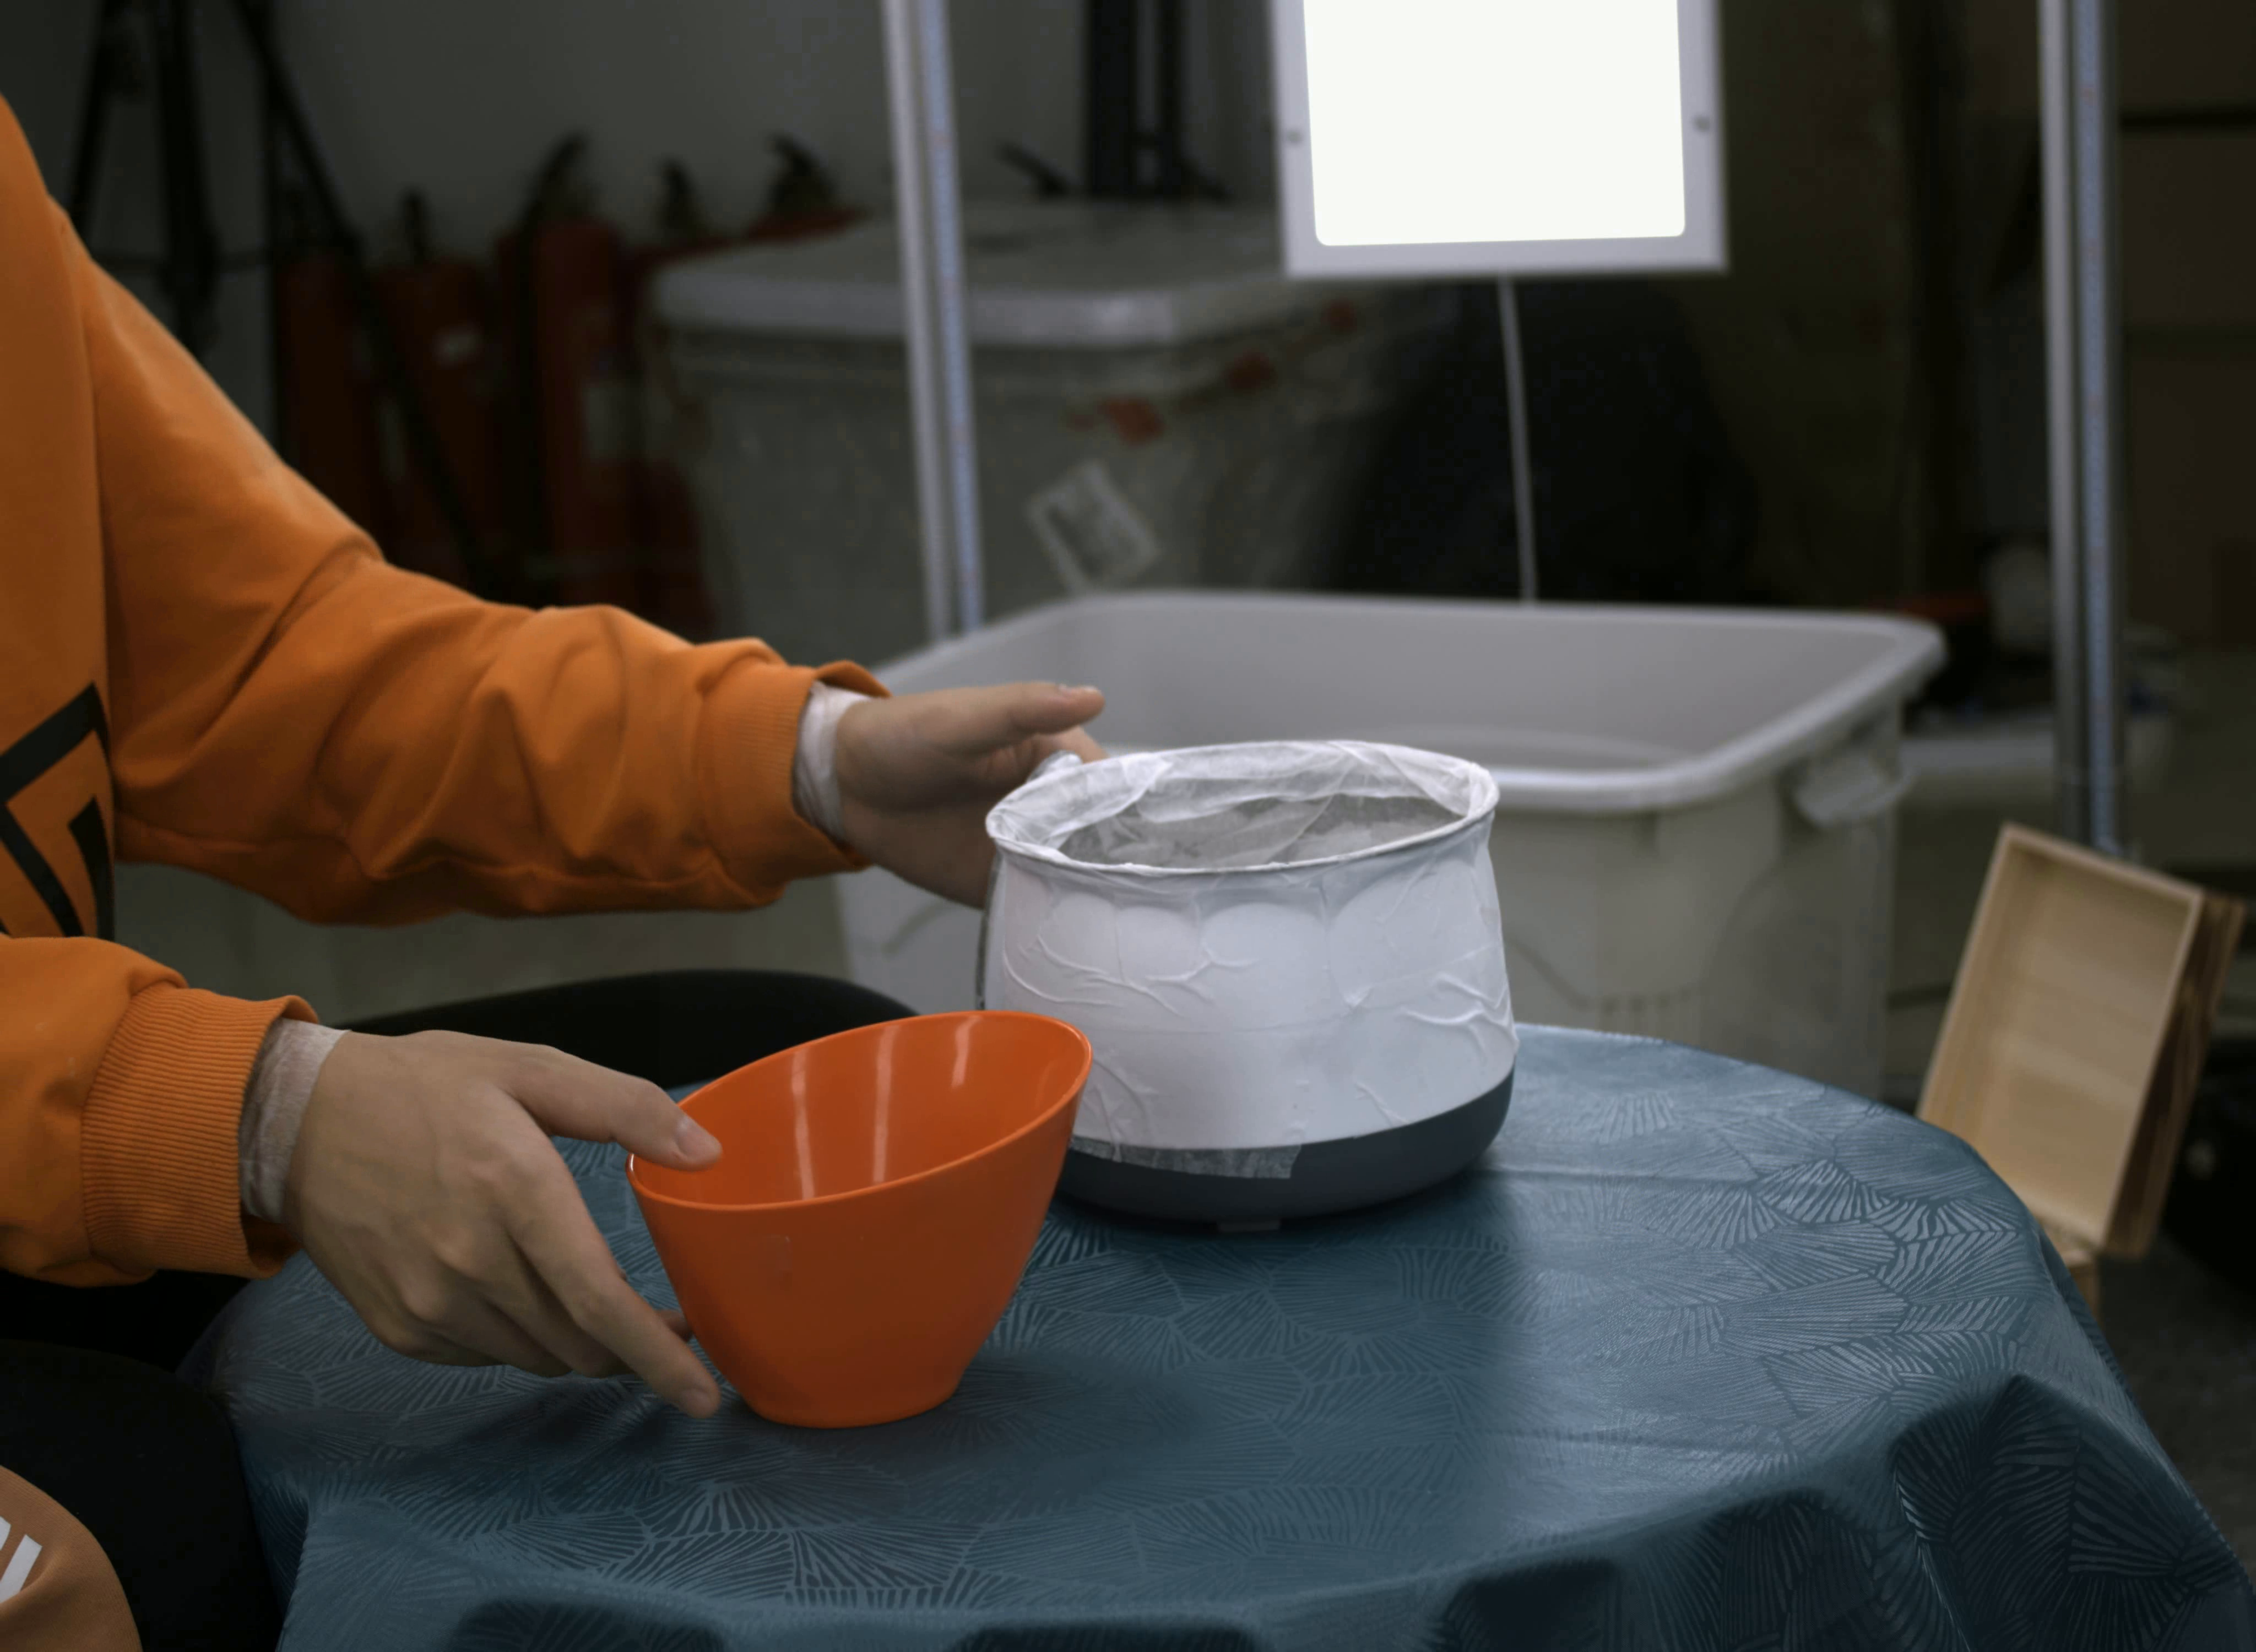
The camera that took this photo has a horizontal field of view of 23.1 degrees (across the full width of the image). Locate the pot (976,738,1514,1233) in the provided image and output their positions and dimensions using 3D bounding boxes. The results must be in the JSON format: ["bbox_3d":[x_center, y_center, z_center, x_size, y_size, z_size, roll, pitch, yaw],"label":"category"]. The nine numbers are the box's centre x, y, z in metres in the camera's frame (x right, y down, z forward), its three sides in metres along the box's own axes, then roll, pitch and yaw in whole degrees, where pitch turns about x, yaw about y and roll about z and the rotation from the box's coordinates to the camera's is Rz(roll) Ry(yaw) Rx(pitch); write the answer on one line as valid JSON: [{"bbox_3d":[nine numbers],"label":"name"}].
[{"bbox_3d":[0.026,0.049,1.913,0.174,0.137,0.238,-15,17,-37],"label":"pot"}]

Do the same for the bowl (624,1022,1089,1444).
[{"bbox_3d":[-0.079,0.130,1.713,0.147,0.105,0.148,-6,14,0],"label":"bowl"}]
